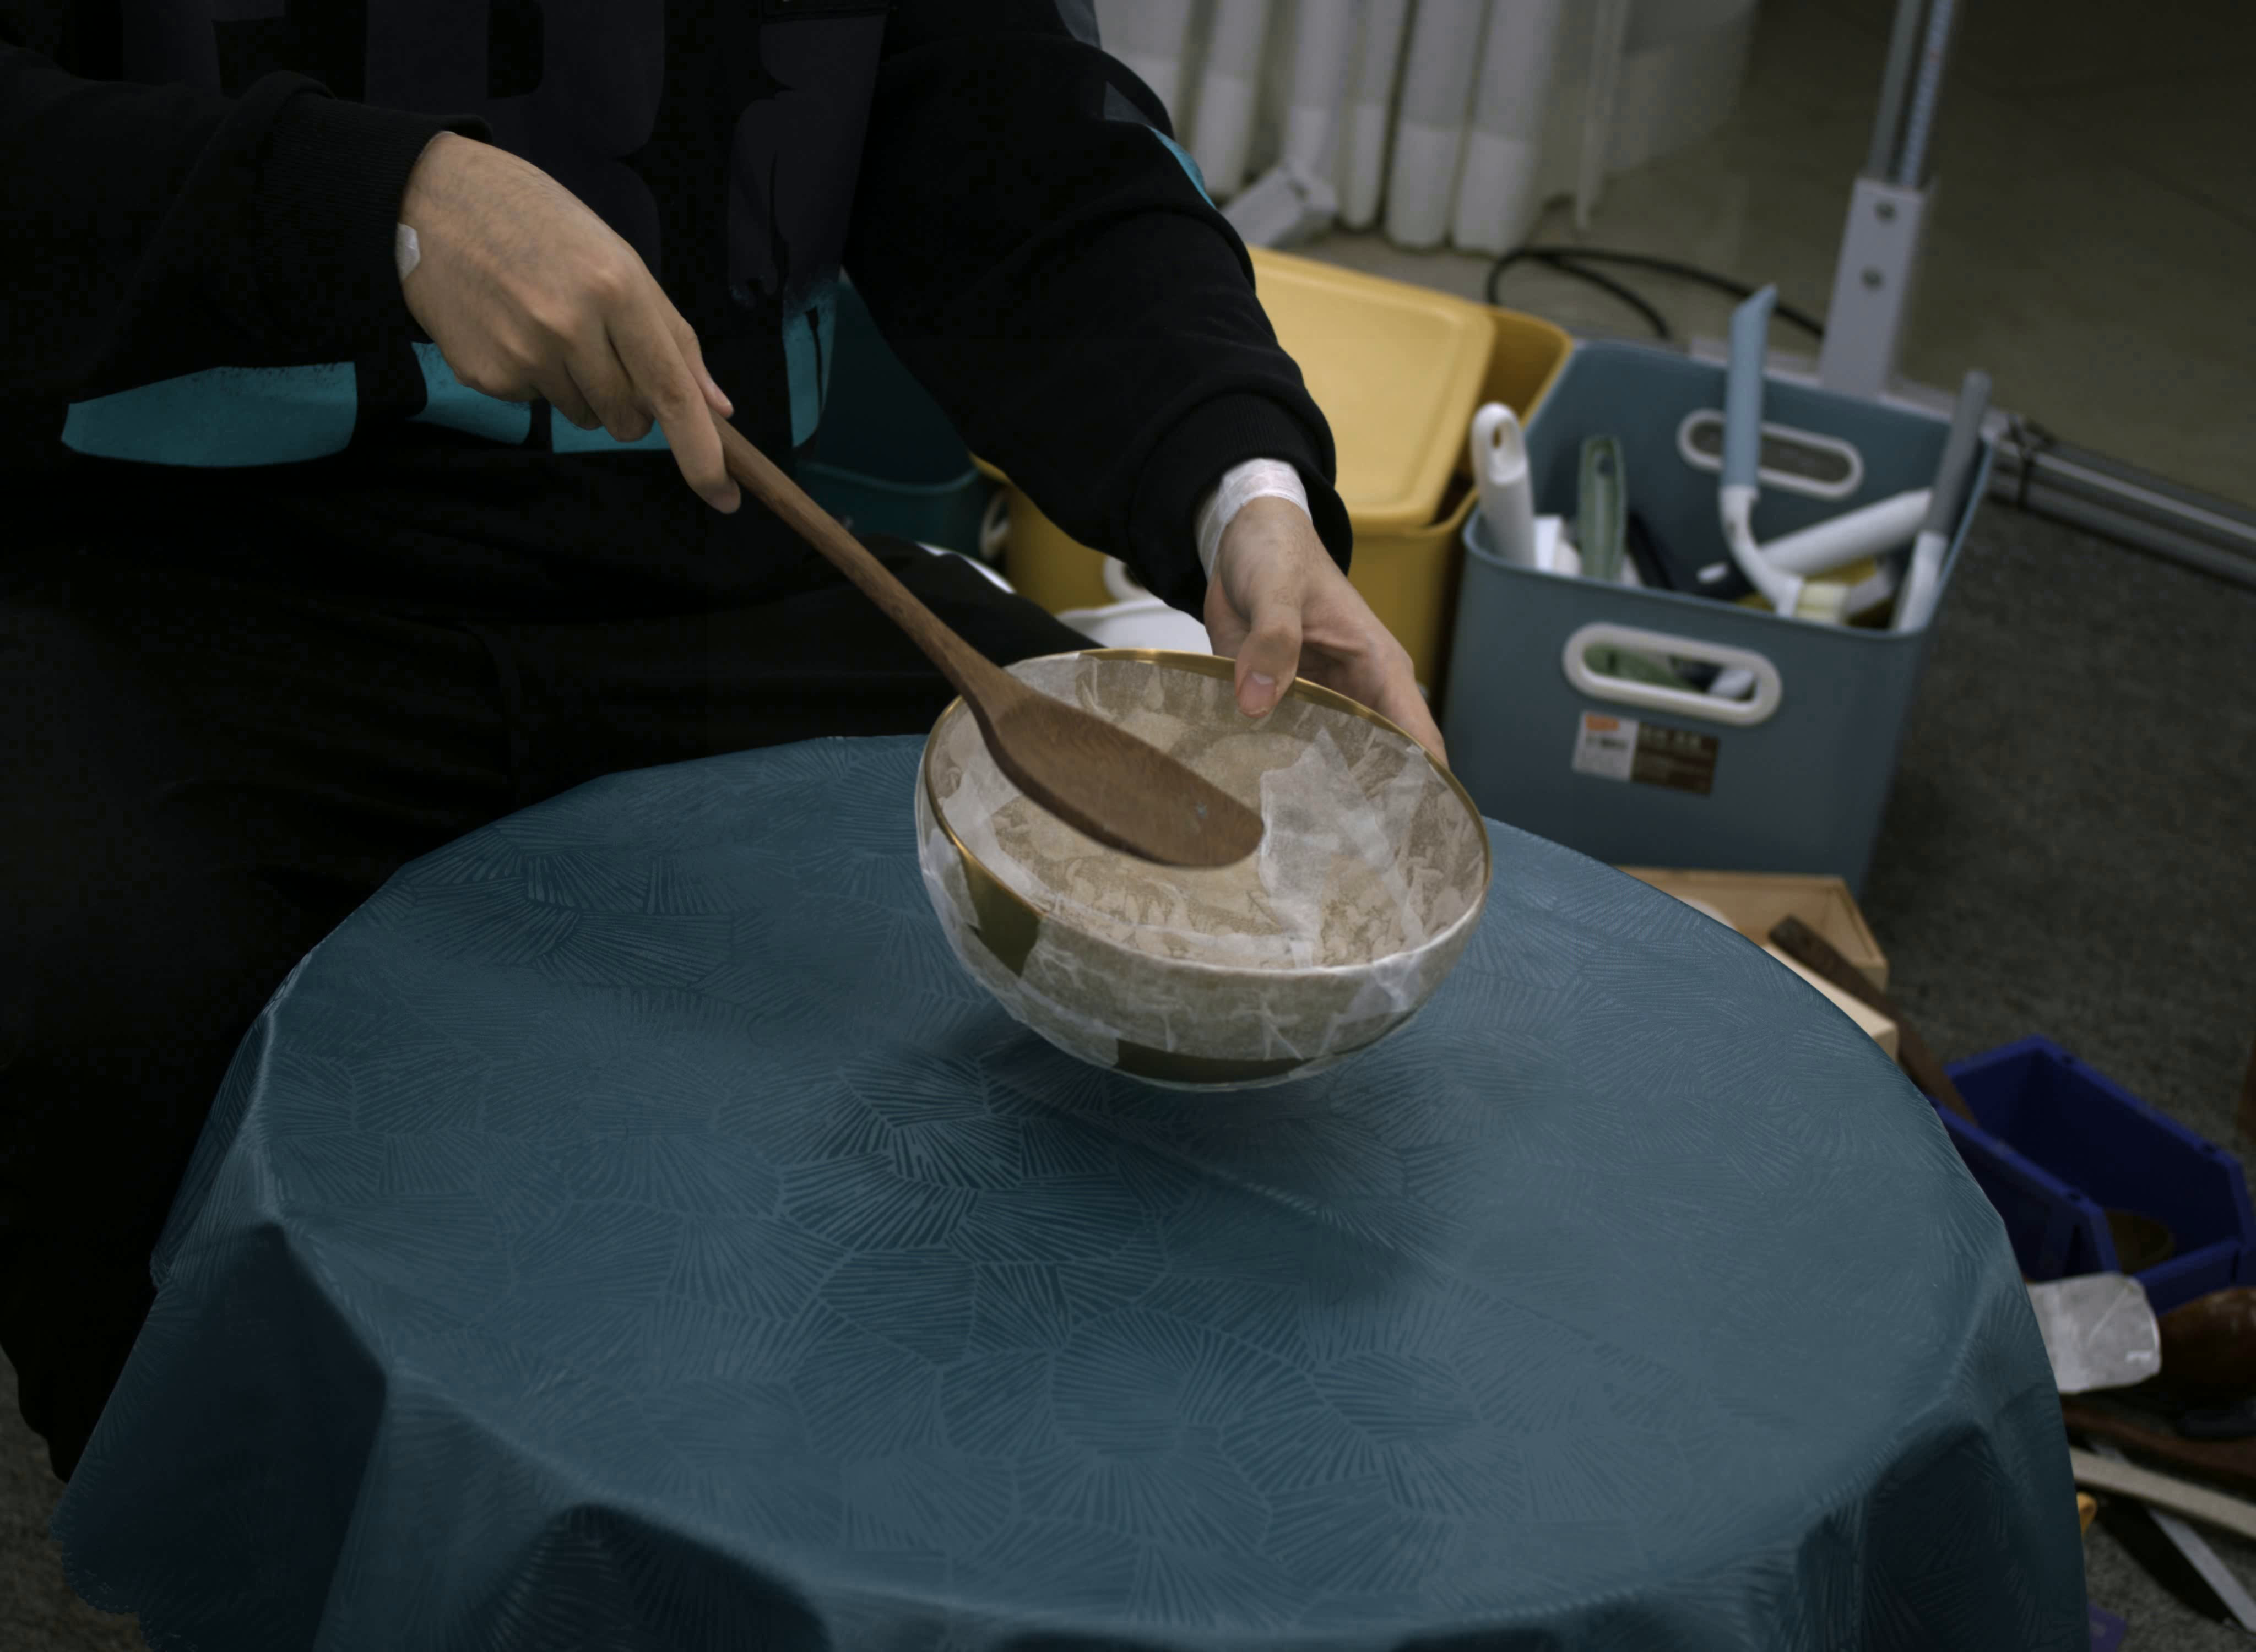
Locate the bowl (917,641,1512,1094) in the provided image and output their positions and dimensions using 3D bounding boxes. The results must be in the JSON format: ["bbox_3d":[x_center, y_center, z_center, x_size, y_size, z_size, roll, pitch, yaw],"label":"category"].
[{"bbox_3d":[0.023,0.028,1.844,0.214,0.094,0.216,7,31,-4],"label":"bowl"}]

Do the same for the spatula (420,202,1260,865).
[{"bbox_3d":[-0.109,-0.105,1.823,0.388,0.016,0.095,40,23,20],"label":"spatula"}]
